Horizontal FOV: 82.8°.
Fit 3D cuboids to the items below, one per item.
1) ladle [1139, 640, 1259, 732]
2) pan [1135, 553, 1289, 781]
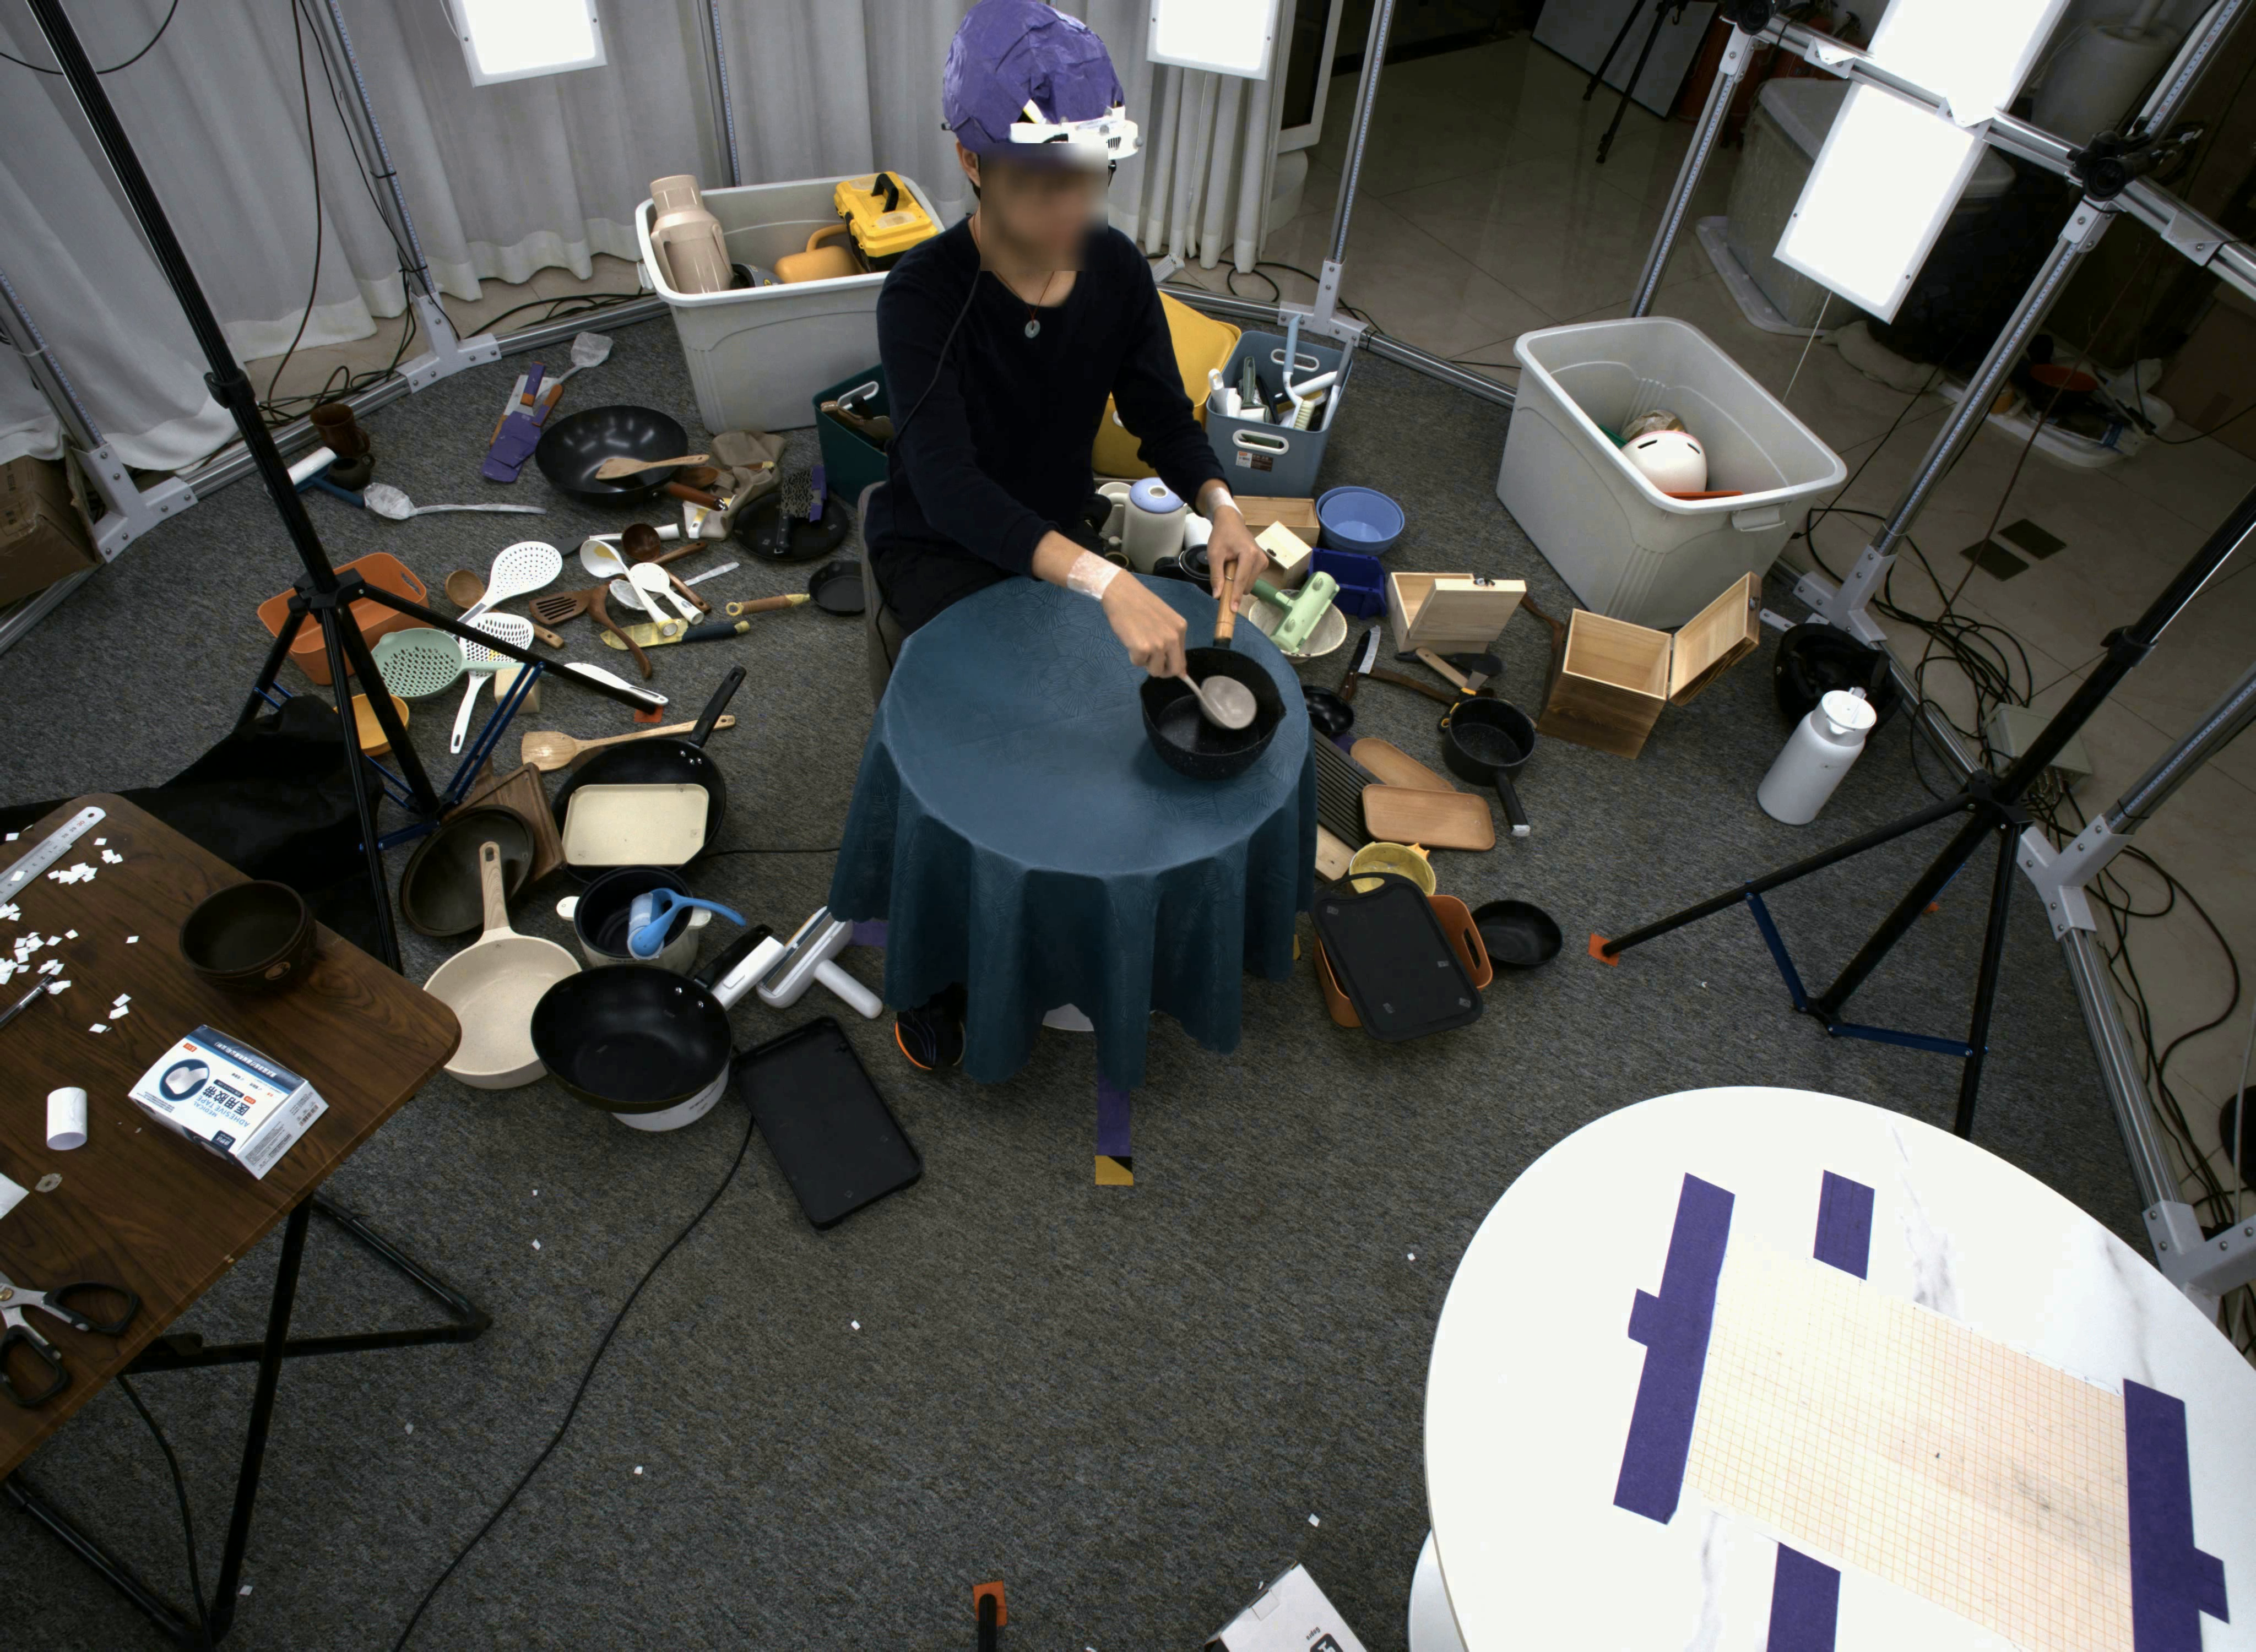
[{"bbox_3d":[0.097,-0.197,1.669,0.069,0.270,0.091,-26,65,15],"label":"ladle"},{"bbox_3d":[0.122,-0.219,1.773,0.207,0.106,0.350,7,58,4],"label":"pan"}]
